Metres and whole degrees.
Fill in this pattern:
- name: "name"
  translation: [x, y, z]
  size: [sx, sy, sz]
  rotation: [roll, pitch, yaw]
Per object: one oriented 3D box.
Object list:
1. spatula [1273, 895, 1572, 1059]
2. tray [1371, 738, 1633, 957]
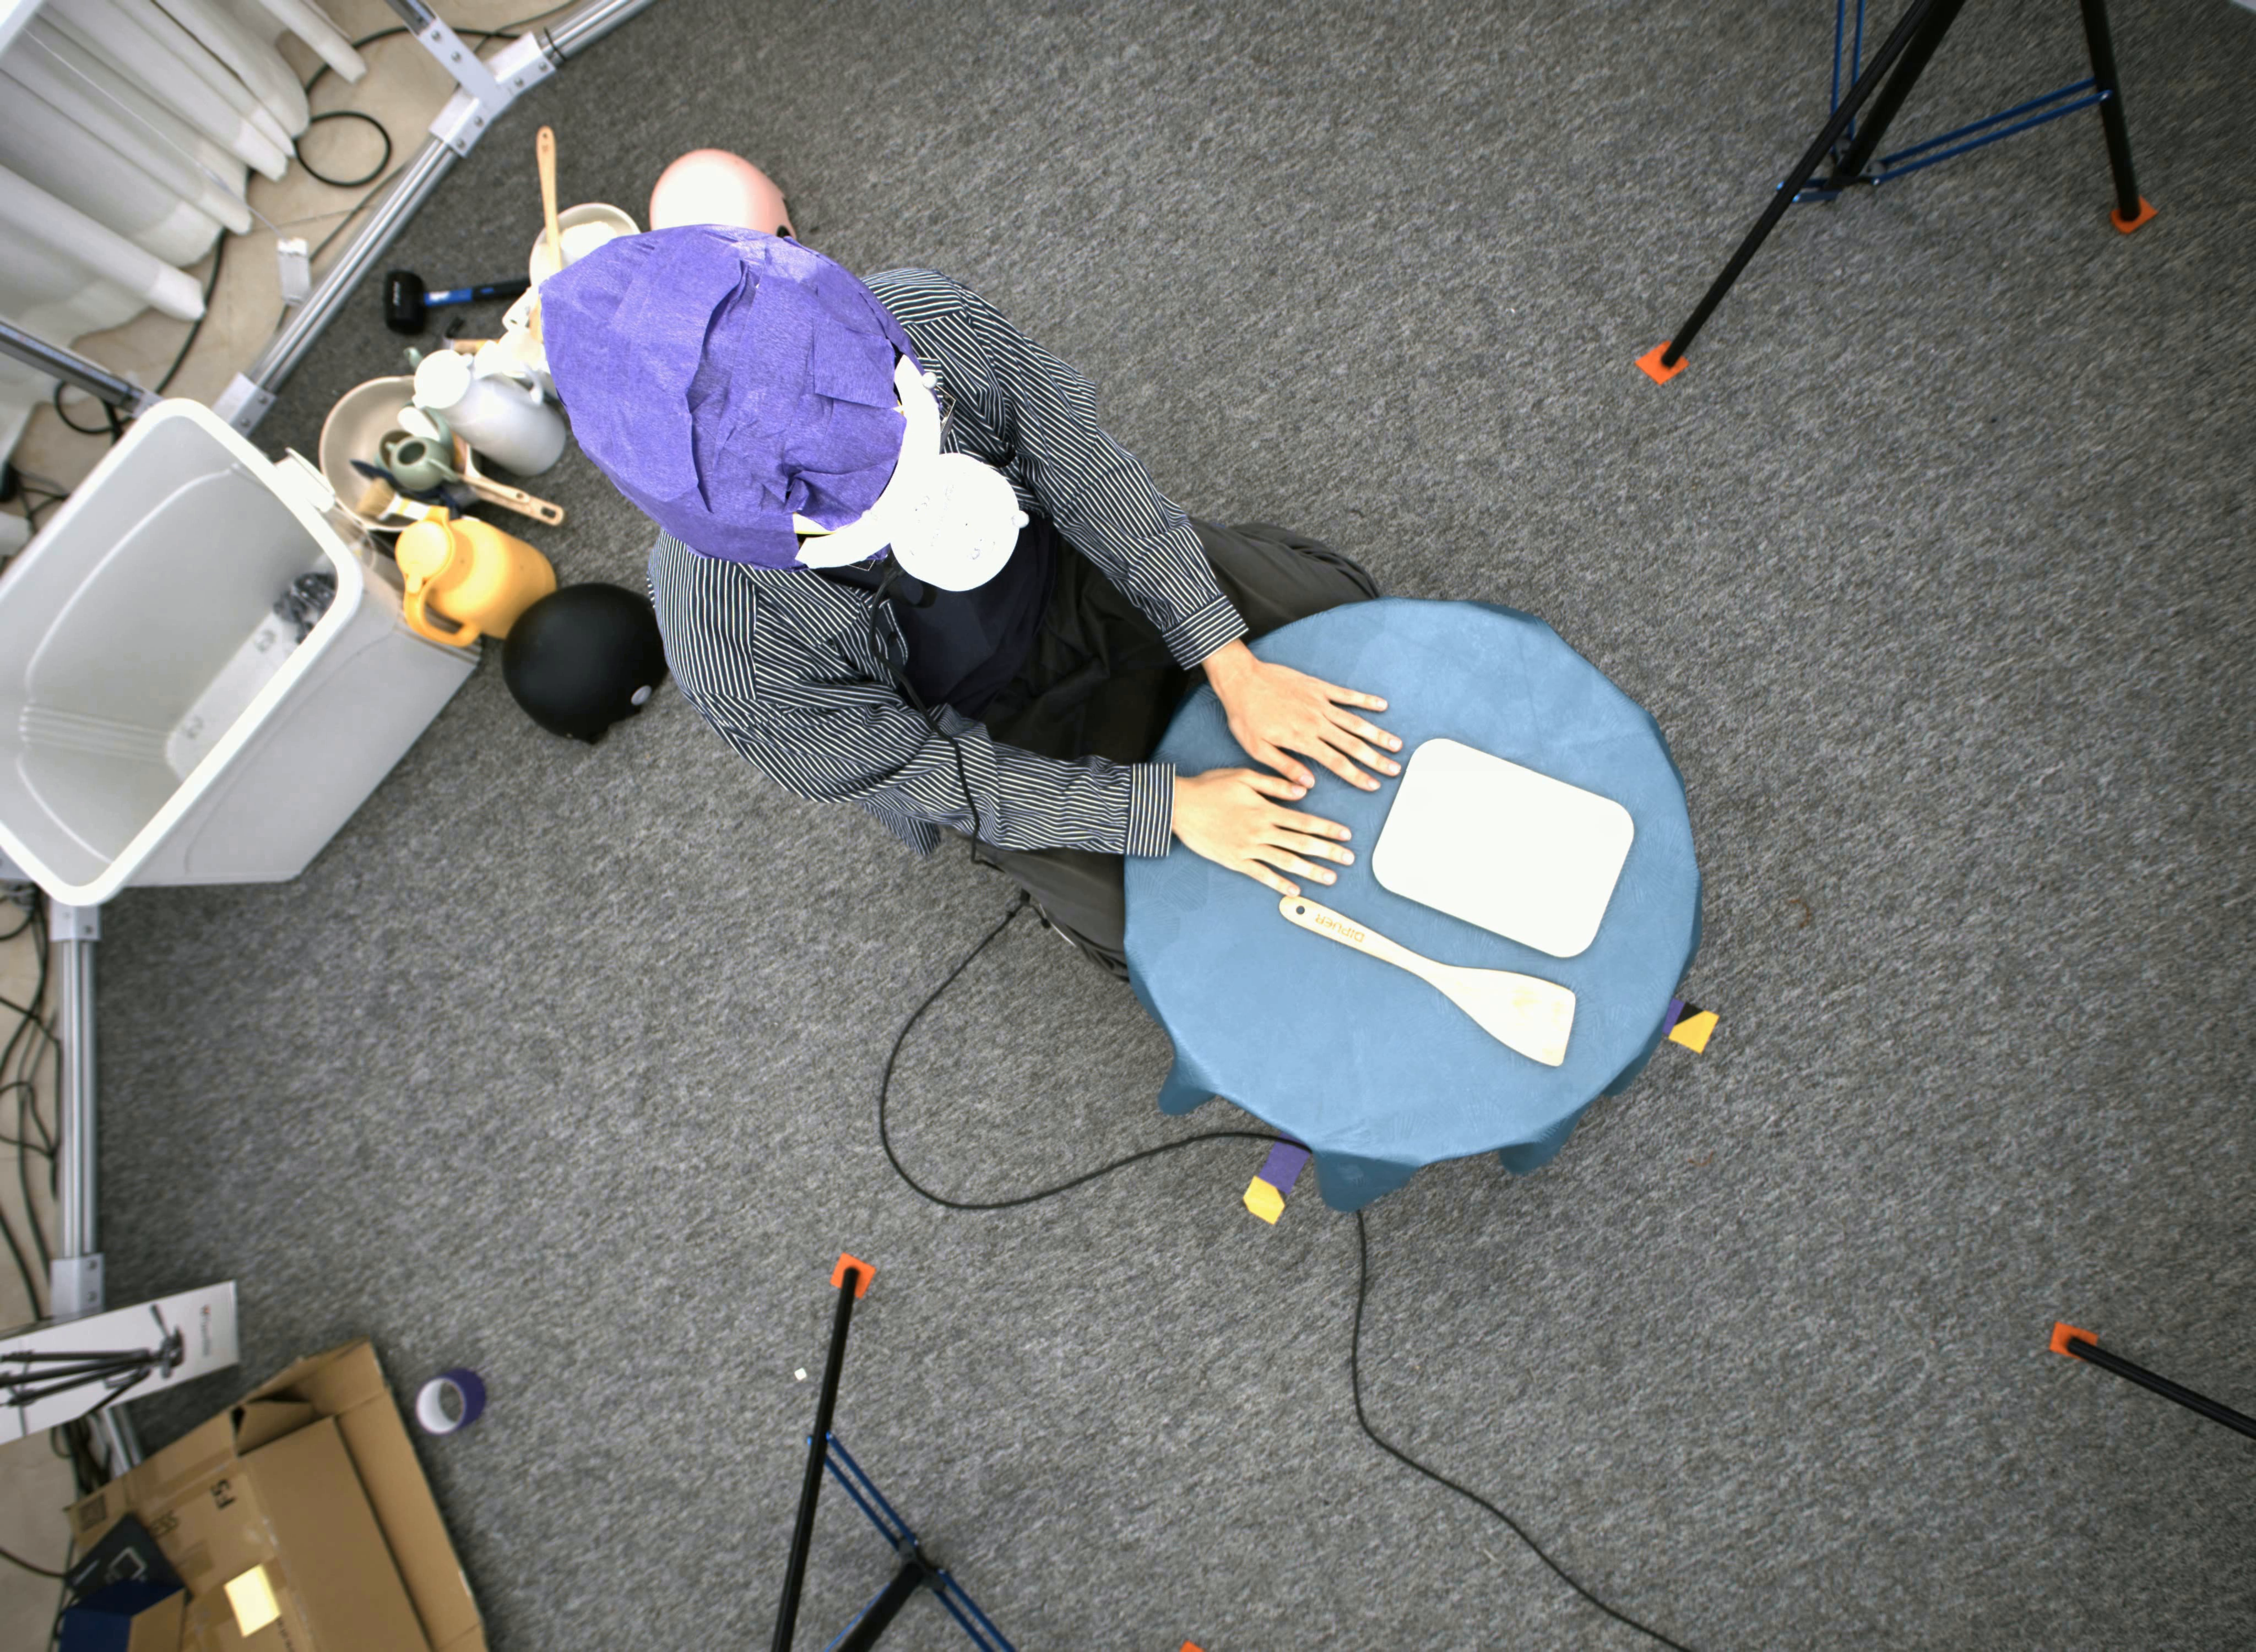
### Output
- name: "spatula"
  translation: [0.303, 0.140, 1.431]
  size: [0.327, 0.016, 0.080]
  rotation: [23, 91, 10]
- name: "tray"
  translation: [0.385, 0.019, 1.421]
  size: [0.239, 0.017, 0.171]
  rotation: [22, 91, 10]
